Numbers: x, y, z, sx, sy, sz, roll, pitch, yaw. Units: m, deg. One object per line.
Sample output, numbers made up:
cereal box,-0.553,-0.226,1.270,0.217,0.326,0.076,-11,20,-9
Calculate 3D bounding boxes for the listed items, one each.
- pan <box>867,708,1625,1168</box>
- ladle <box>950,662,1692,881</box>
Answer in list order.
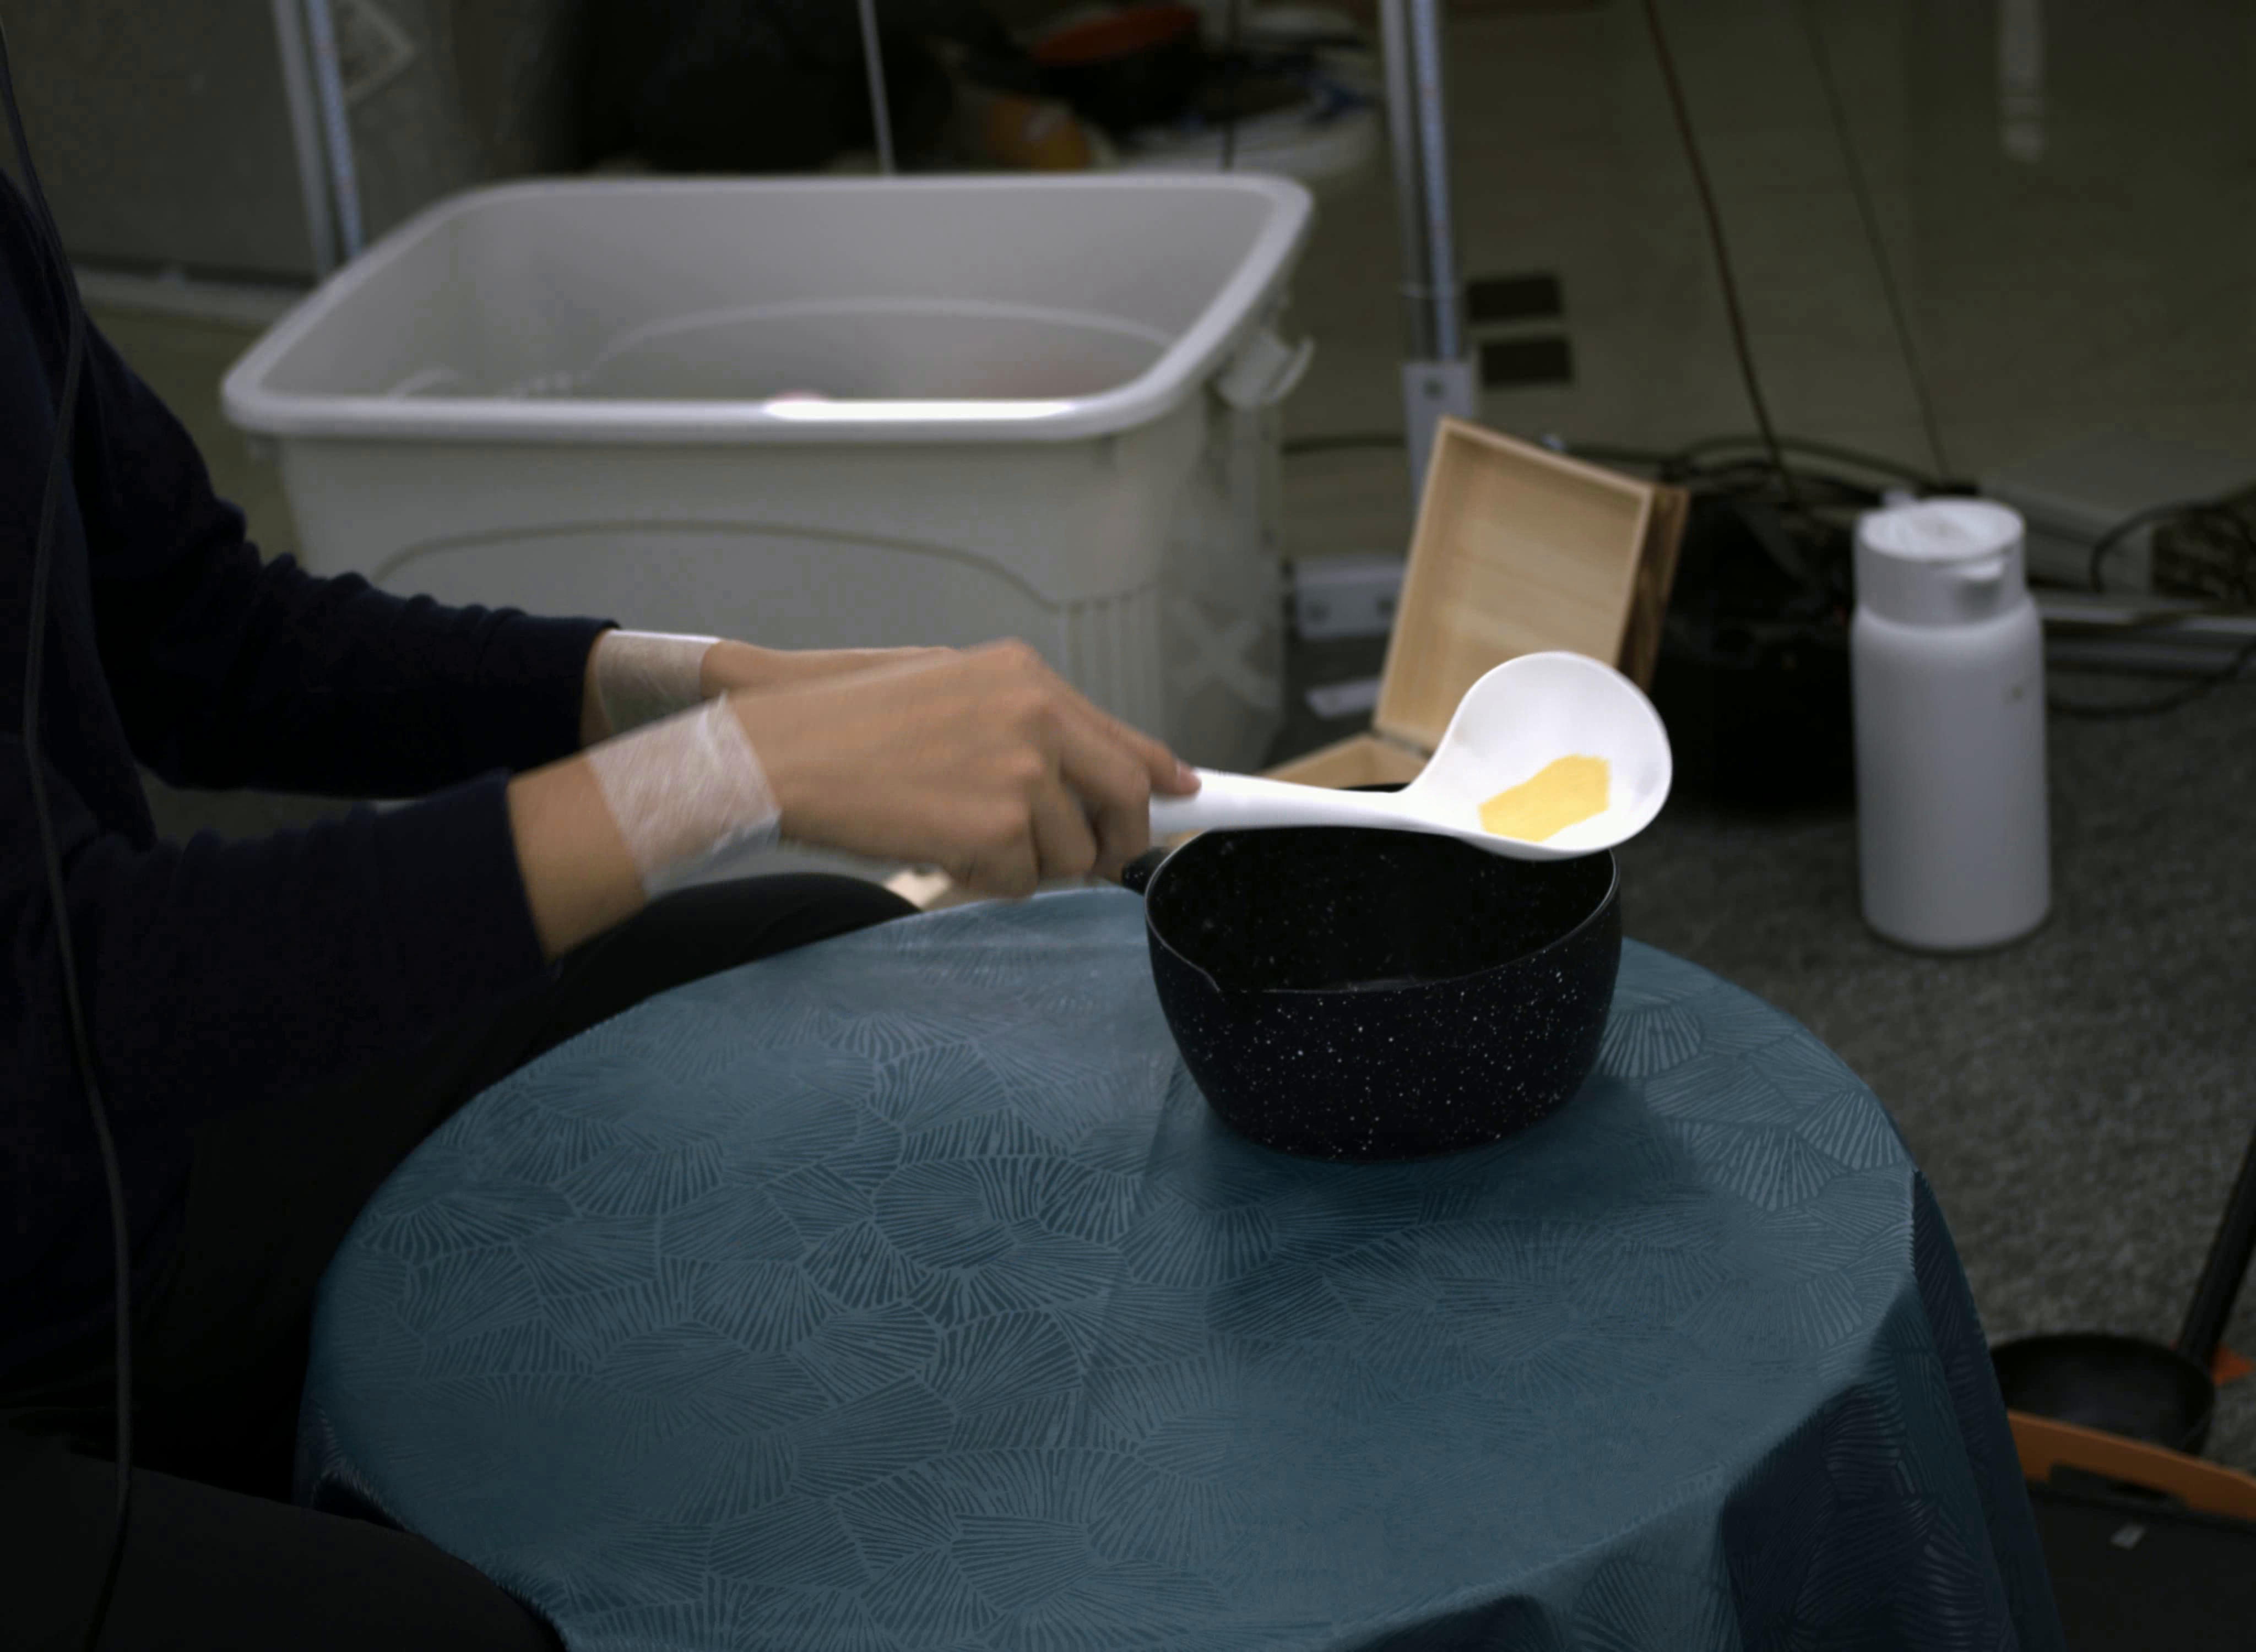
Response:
pan,0.036,0.035,2.231,0.341,0.110,0.205,13,33,33
ladle,0.072,-0.013,2.010,0.292,0.071,0.089,-2,58,-38
